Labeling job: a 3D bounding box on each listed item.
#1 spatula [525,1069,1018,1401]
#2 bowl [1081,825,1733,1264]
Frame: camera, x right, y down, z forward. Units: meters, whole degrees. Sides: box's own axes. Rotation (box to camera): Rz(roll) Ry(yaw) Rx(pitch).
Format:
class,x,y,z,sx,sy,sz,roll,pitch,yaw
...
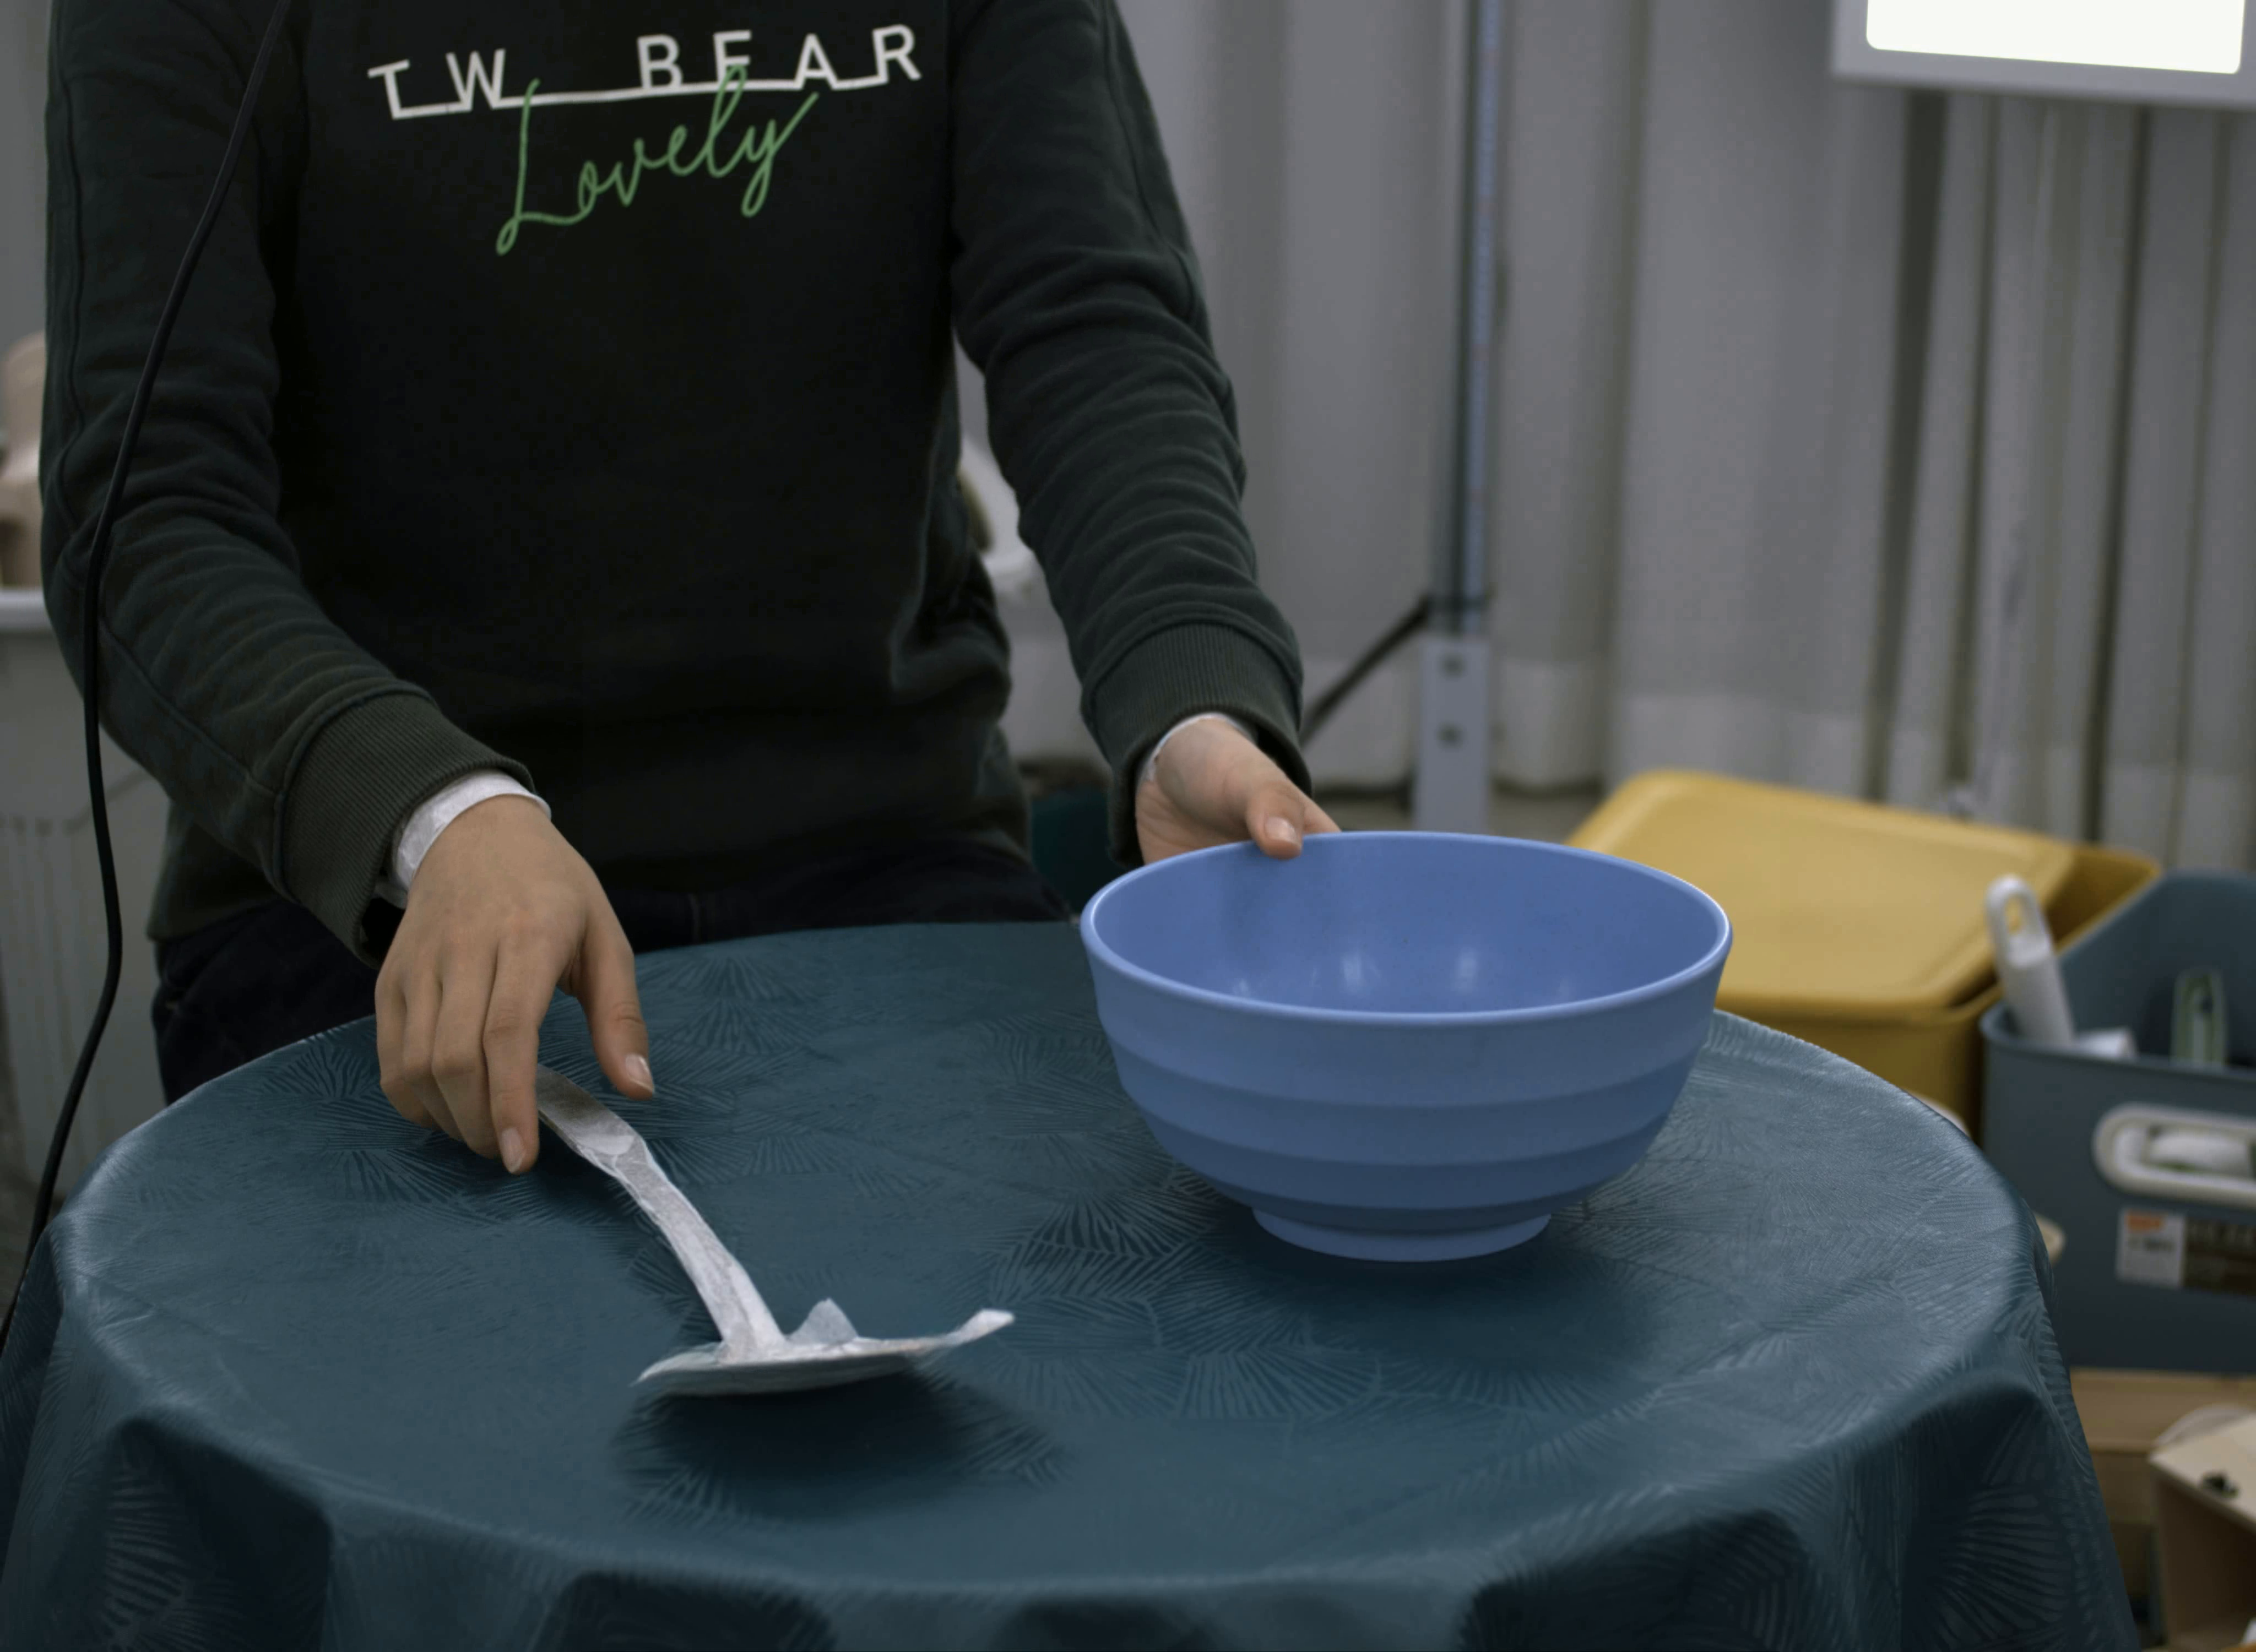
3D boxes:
class,x,y,z,sx,sy,sz,roll,pitch,yaw
spatula,-0.131,0.111,1.555,0.099,0.045,0.361,-7,18,-19
bowl,0.084,0.072,1.597,0.196,0.096,0.195,0,17,1
